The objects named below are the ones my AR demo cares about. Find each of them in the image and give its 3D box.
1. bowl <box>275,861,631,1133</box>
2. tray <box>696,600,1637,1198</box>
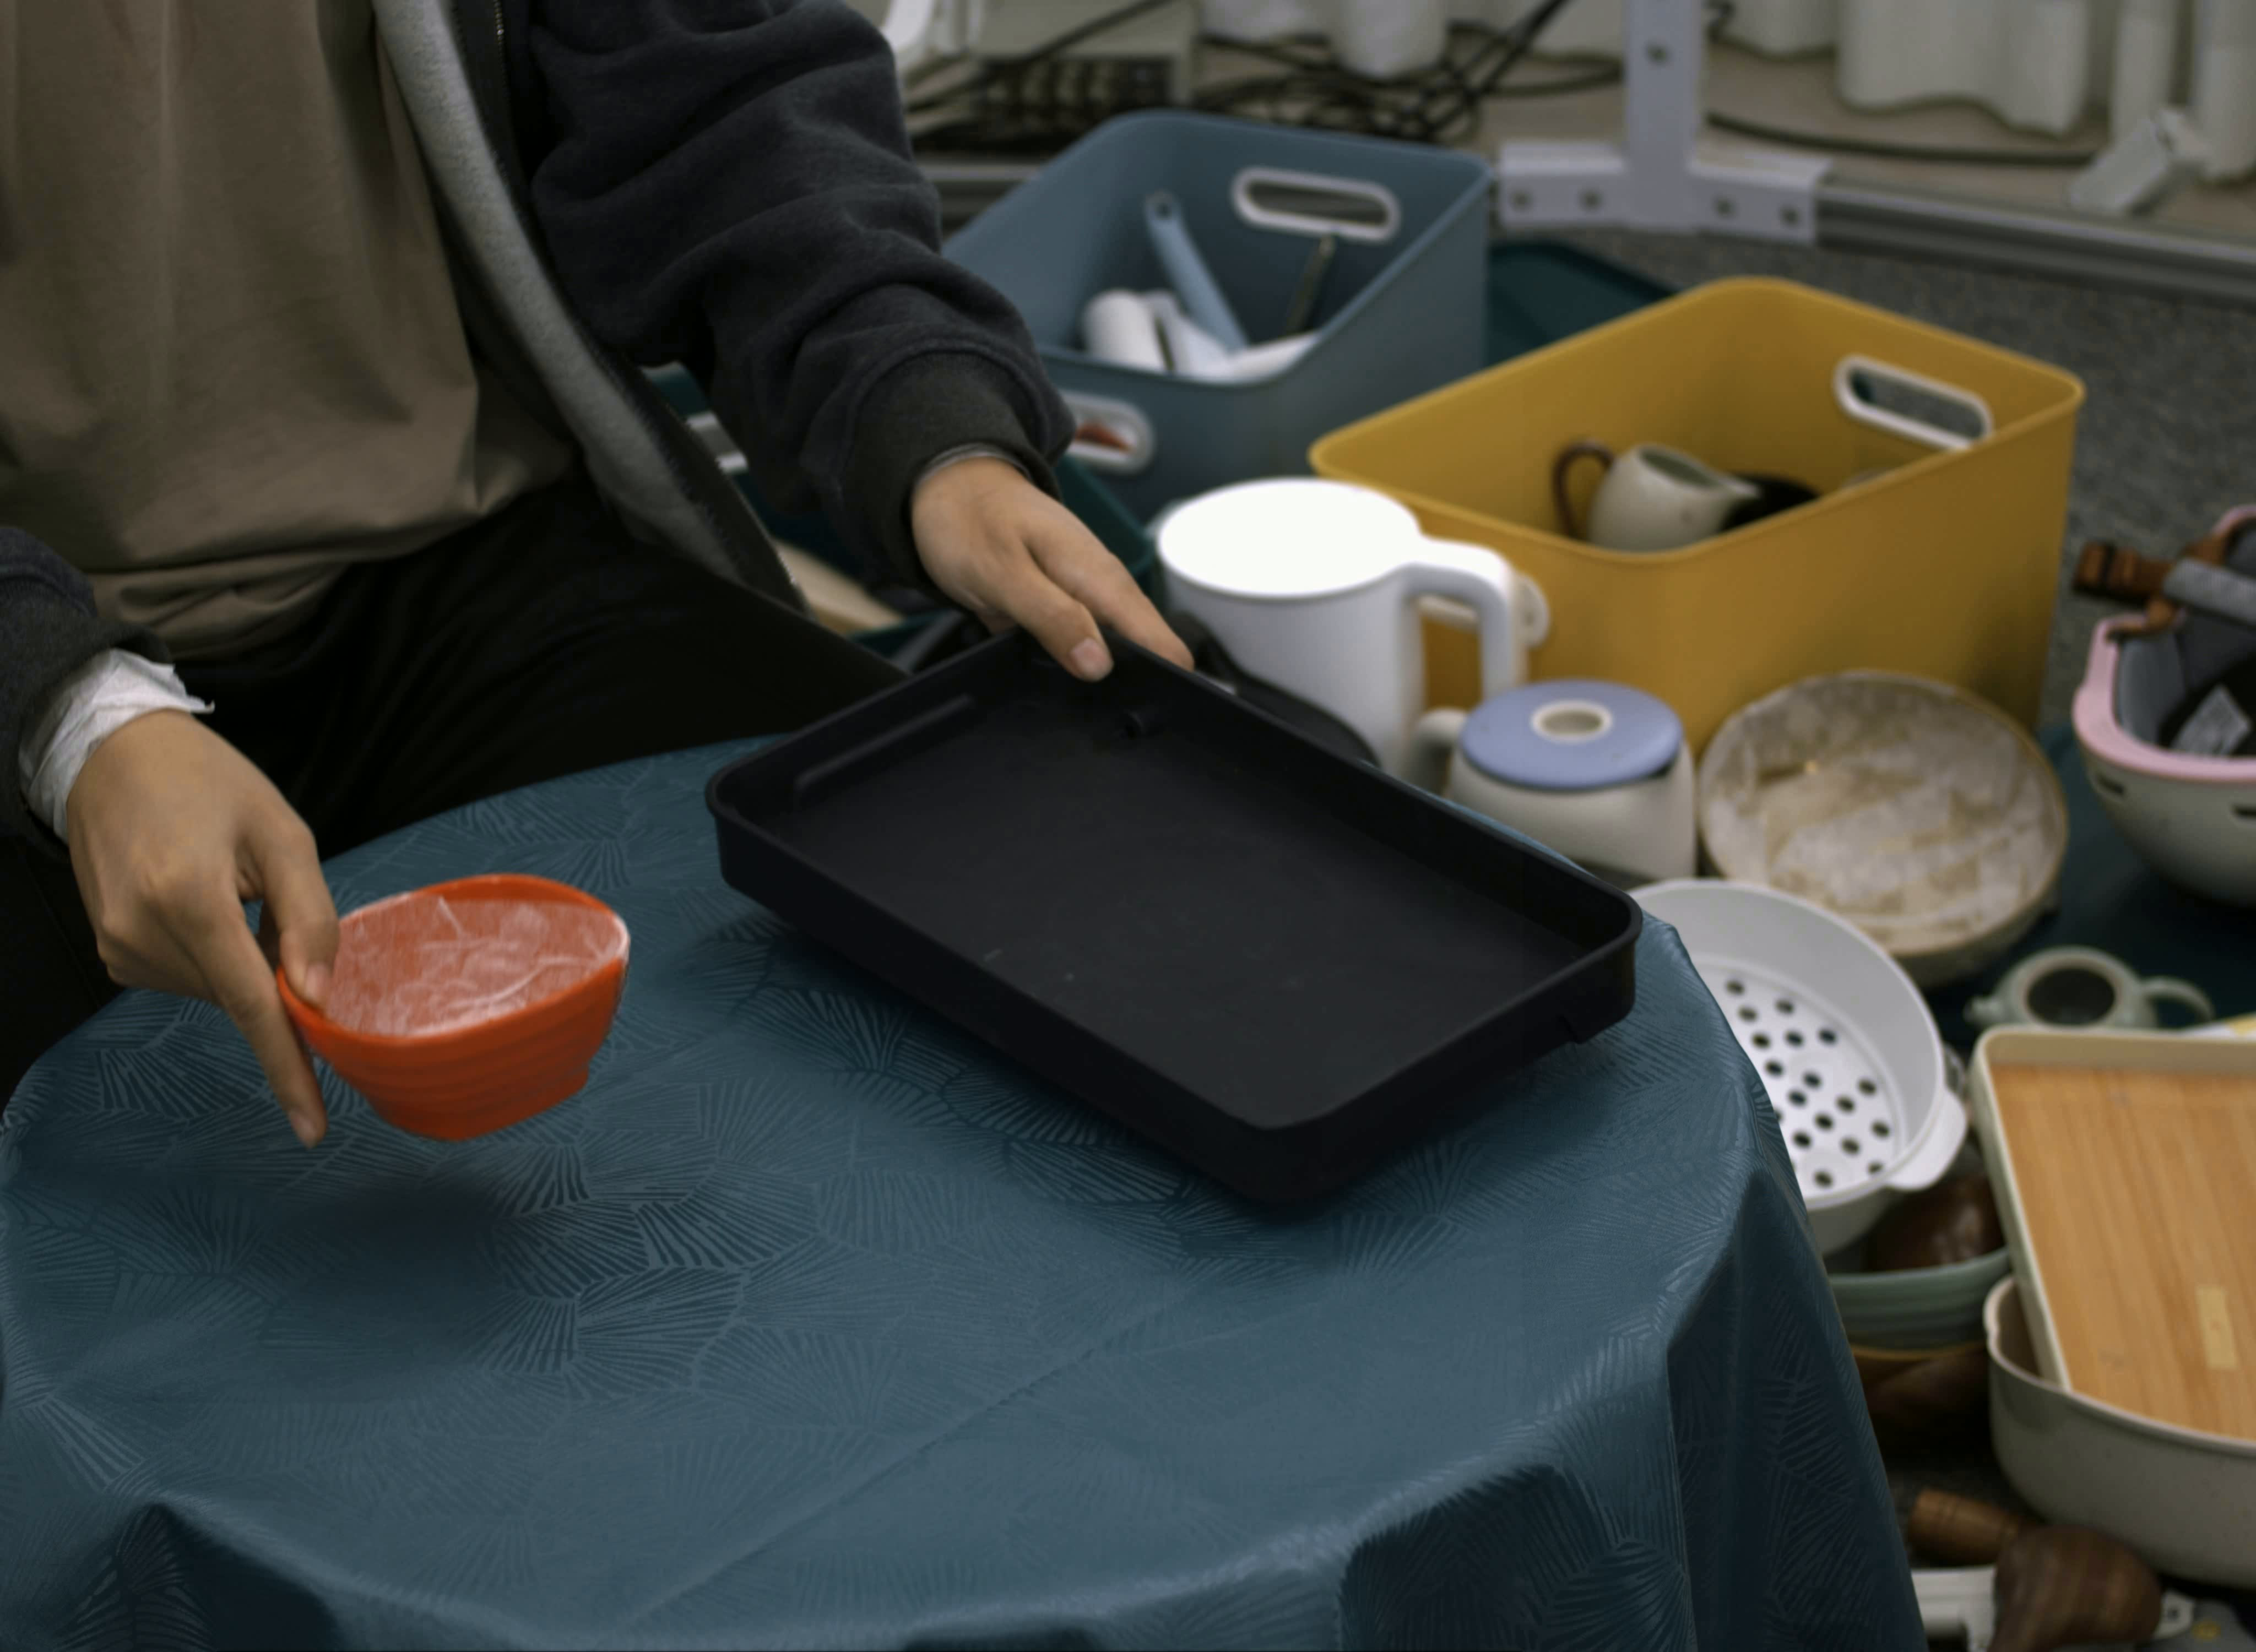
[{"bbox_3d":[-0.218,0.060,1.843,0.118,0.051,0.120,-6,25,3],"label":"bowl"},{"bbox_3d":[0.010,0.020,1.964,0.186,0.036,0.318,-27,39,-33],"label":"tray"}]
